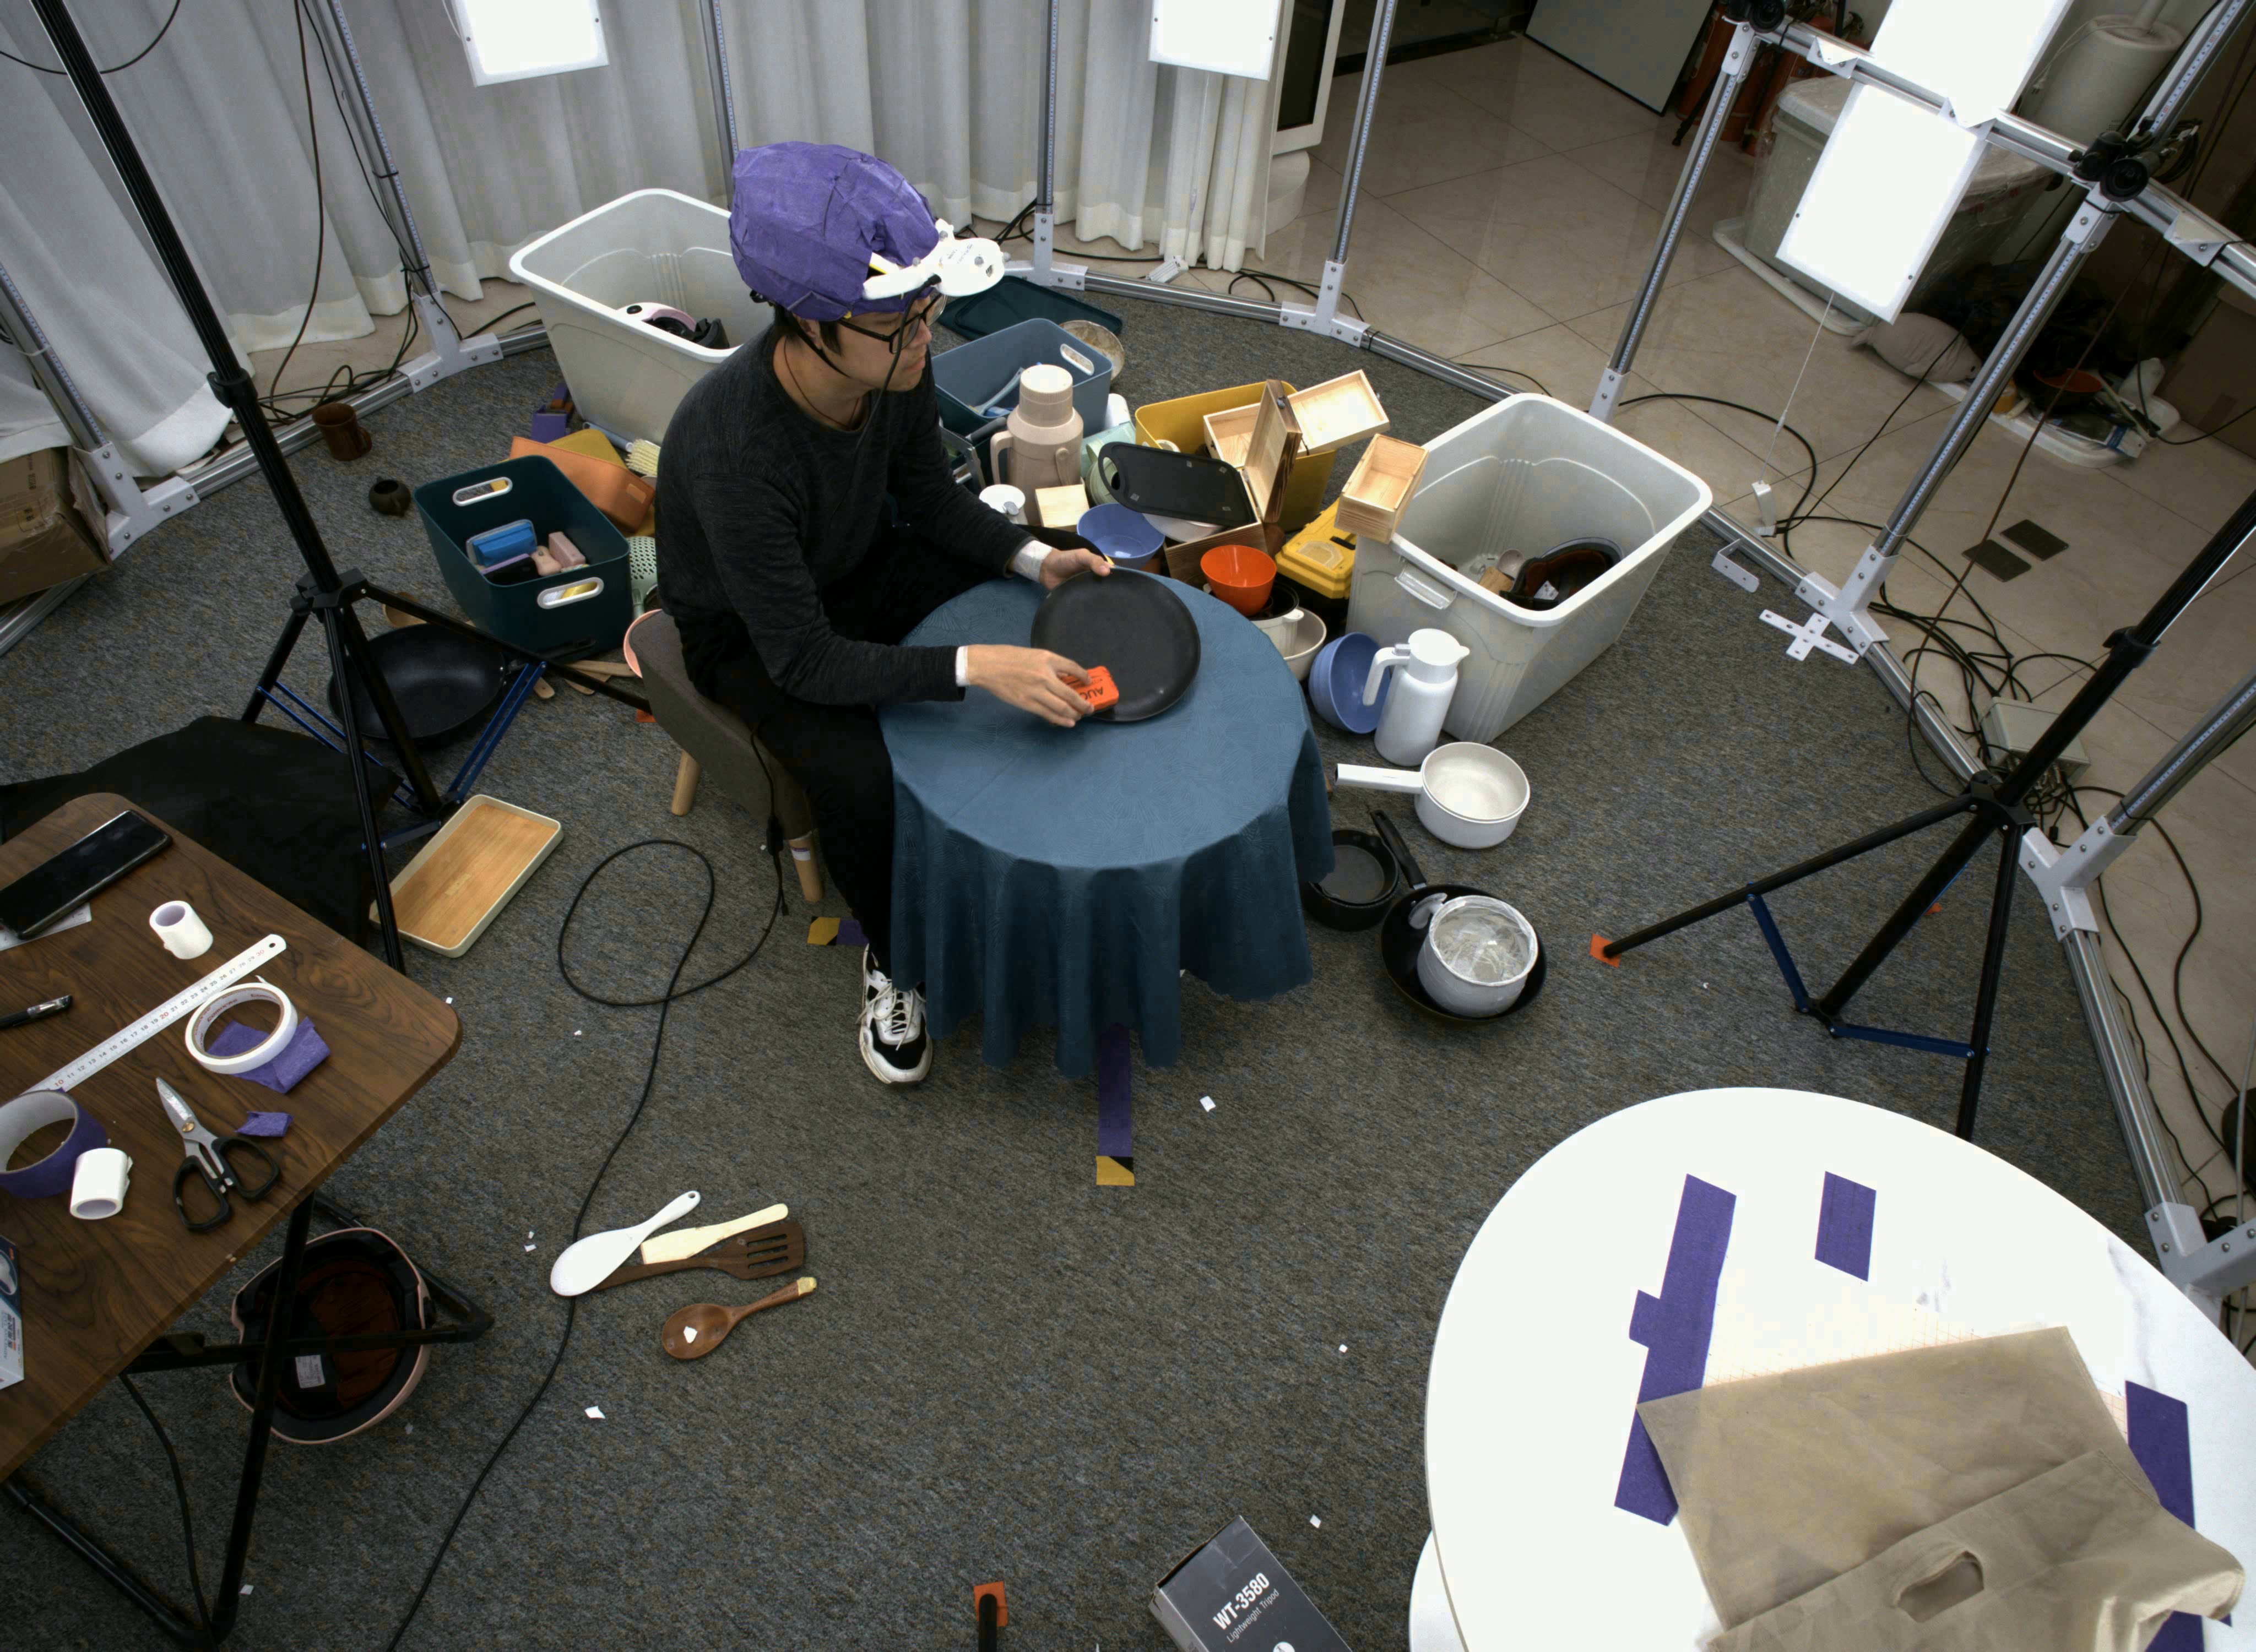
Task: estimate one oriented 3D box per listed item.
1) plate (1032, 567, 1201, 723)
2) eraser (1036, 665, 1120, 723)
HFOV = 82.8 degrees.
[{"bbox_3d":[-0.017,-0.259,1.838,0.244,0.023,0.248,2,69,-6],"label":"plate"},{"bbox_3d":[-0.069,-0.184,1.781,0.108,0.022,0.060,-19,64,-20],"label":"eraser"}]
